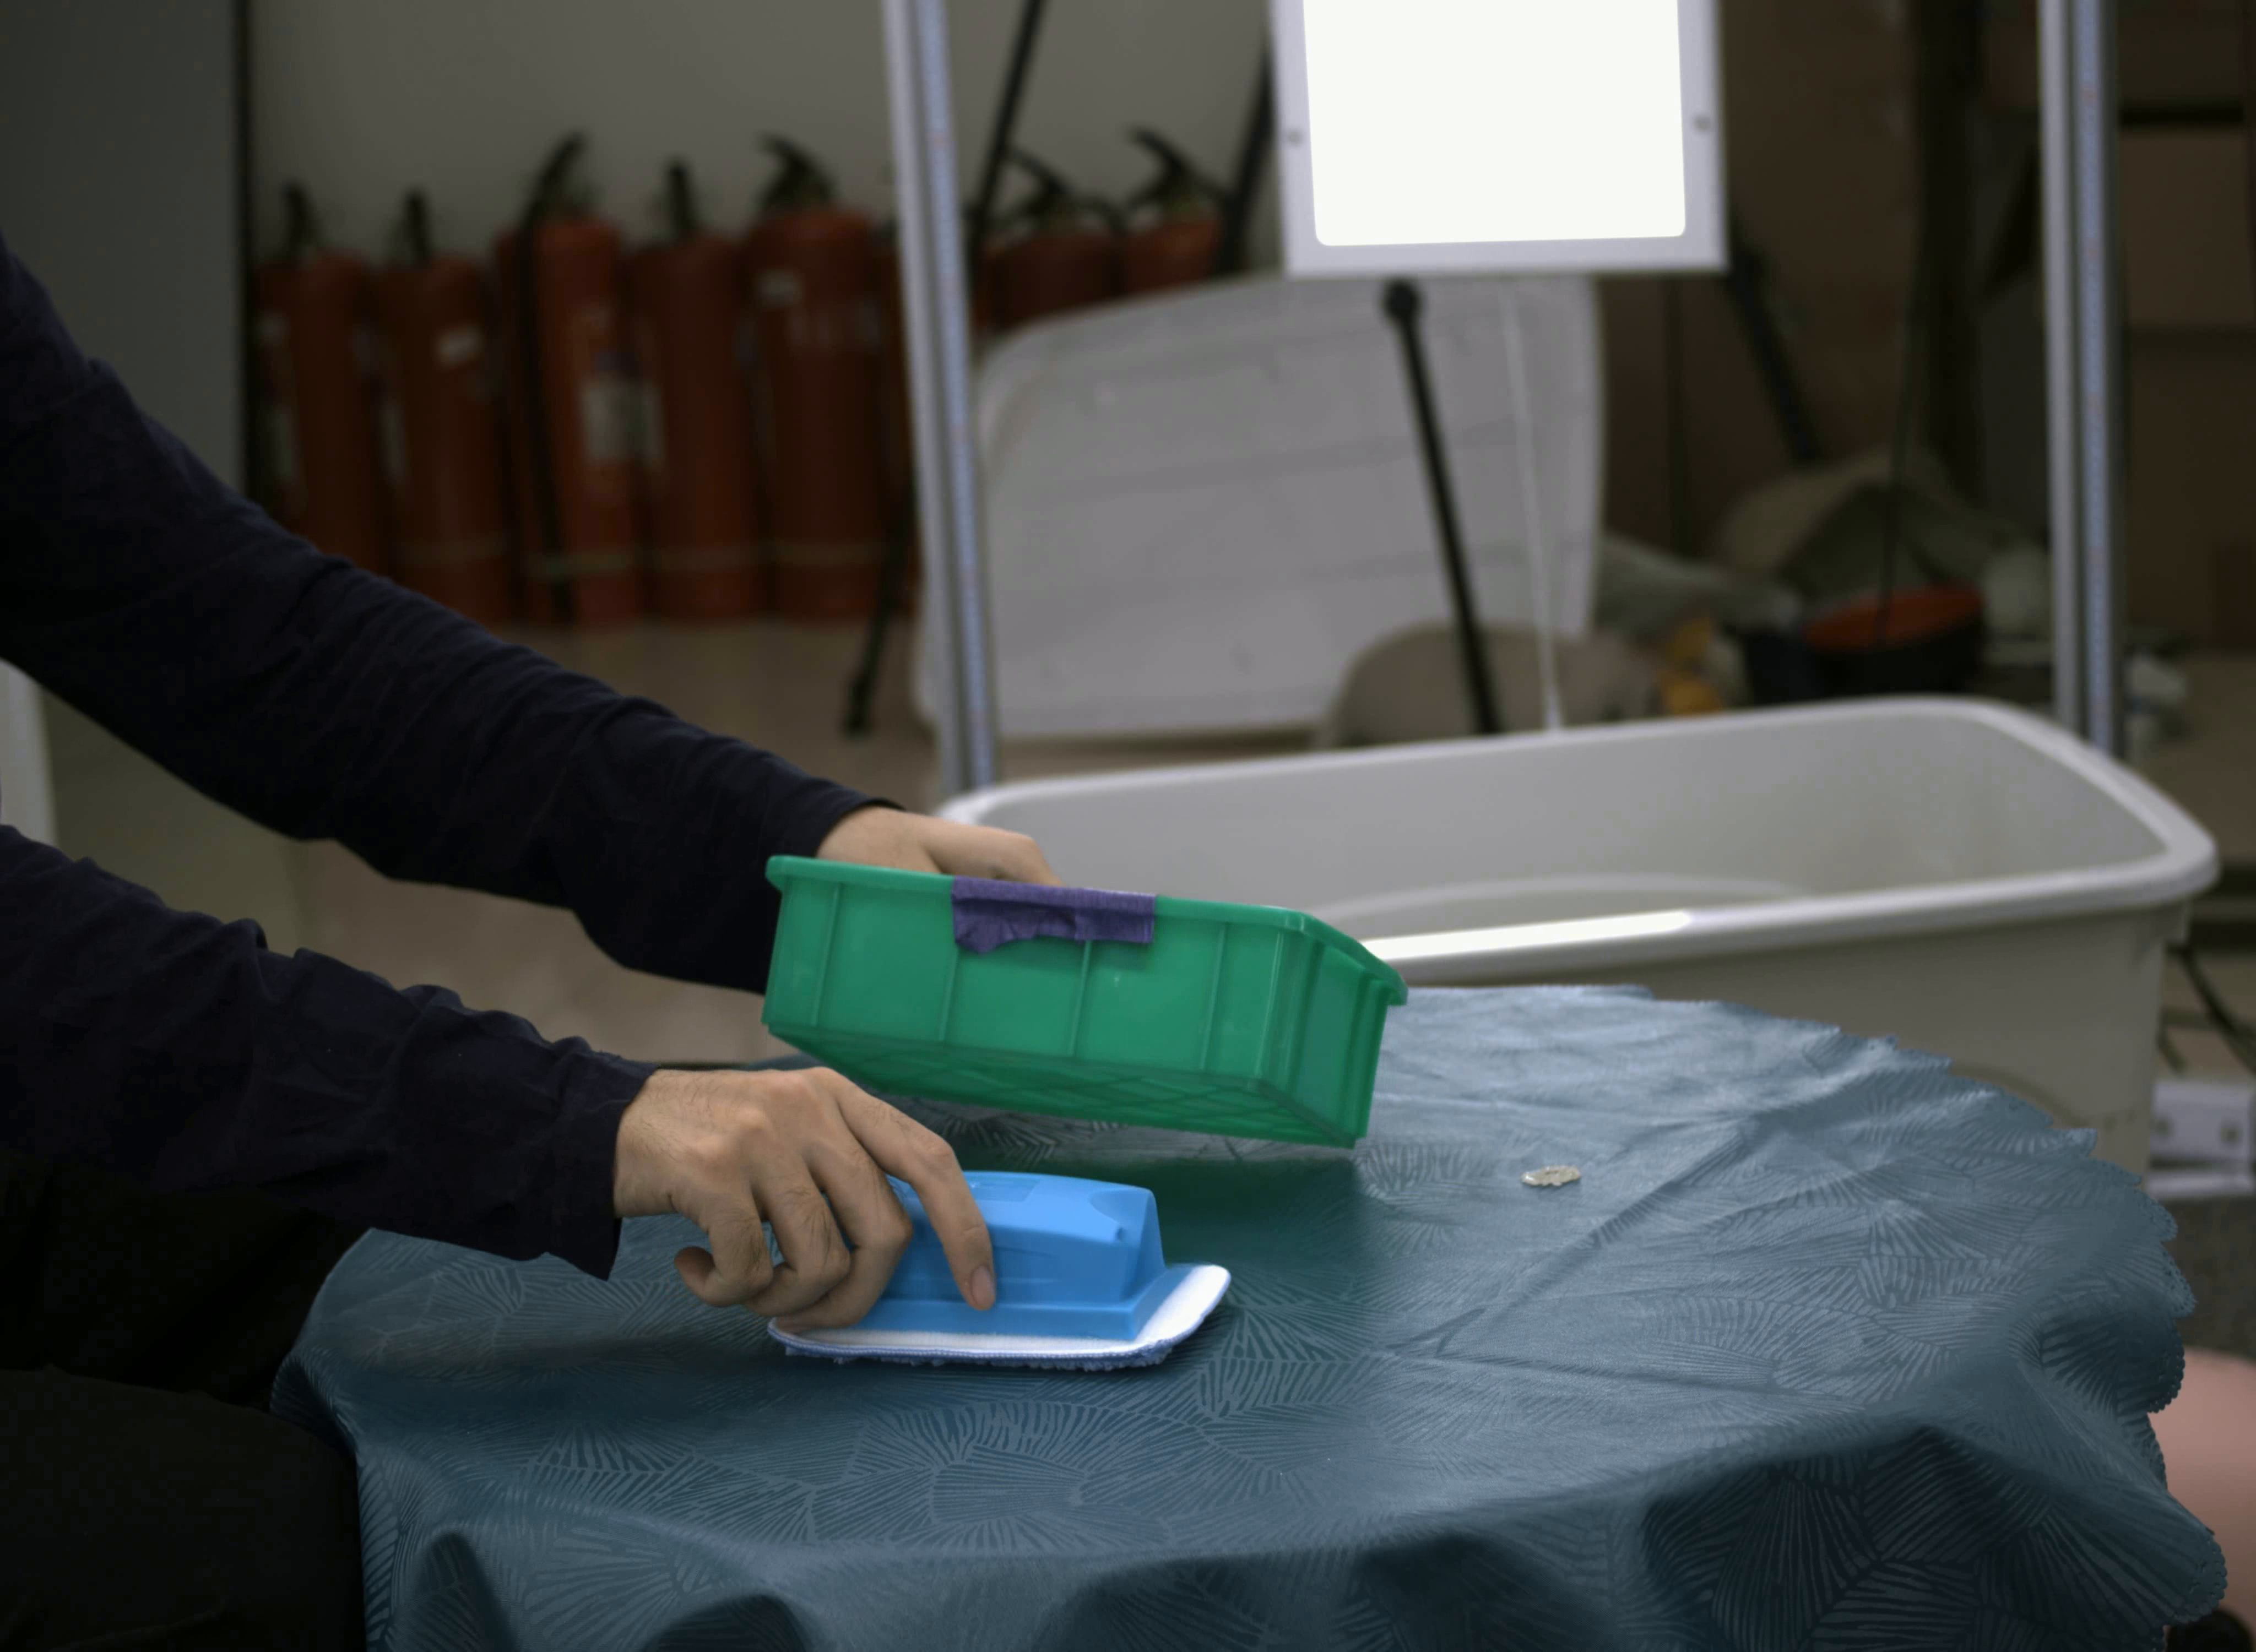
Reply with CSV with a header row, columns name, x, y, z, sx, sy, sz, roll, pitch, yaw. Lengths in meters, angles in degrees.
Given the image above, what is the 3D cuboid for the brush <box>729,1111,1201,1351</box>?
name,x,y,z,sx,sy,sz,roll,pitch,yaw
brush,-0.051,0.127,1.756,0.145,0.056,0.082,10,22,19

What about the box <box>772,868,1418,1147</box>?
name,x,y,z,sx,sy,sz,roll,pitch,yaw
box,-0.013,0.064,1.901,0.213,0.065,0.137,5,-10,21
